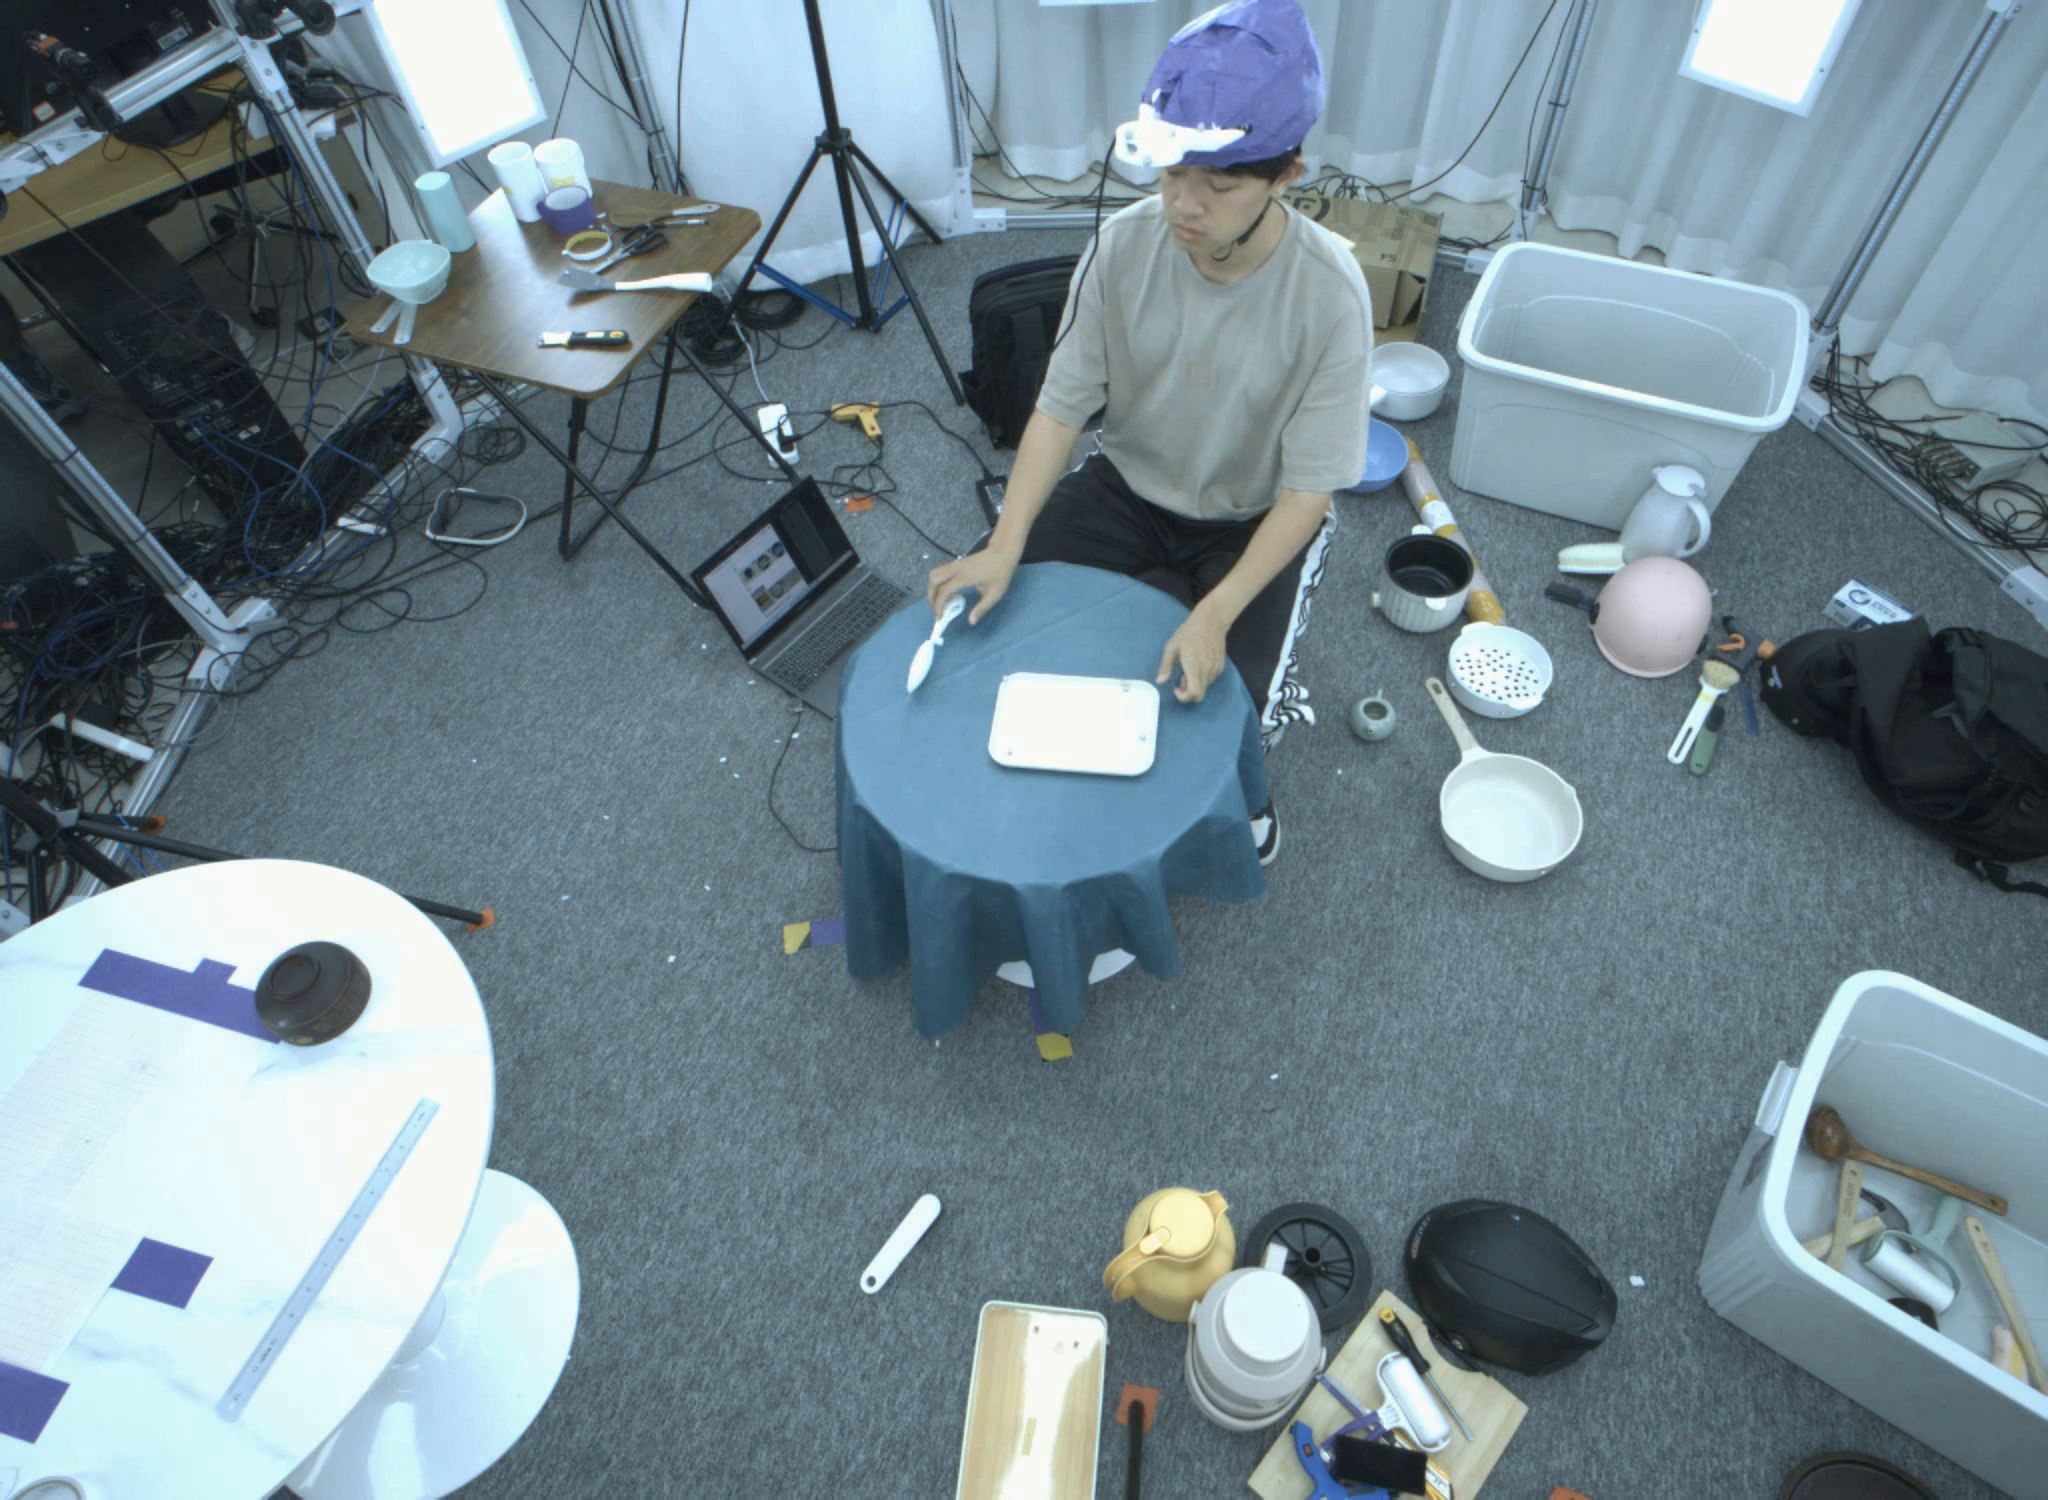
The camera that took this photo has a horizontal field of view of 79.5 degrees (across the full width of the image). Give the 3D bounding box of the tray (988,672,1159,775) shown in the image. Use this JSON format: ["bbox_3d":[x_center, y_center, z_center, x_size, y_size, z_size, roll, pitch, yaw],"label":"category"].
[{"bbox_3d":[0.074,-0.038,1.799,0.239,0.017,0.170,5,56,5],"label":"tray"}]

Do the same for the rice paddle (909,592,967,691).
[{"bbox_3d":[-0.139,-0.168,1.871,0.029,0.069,0.205,19,51,8],"label":"rice paddle"}]
